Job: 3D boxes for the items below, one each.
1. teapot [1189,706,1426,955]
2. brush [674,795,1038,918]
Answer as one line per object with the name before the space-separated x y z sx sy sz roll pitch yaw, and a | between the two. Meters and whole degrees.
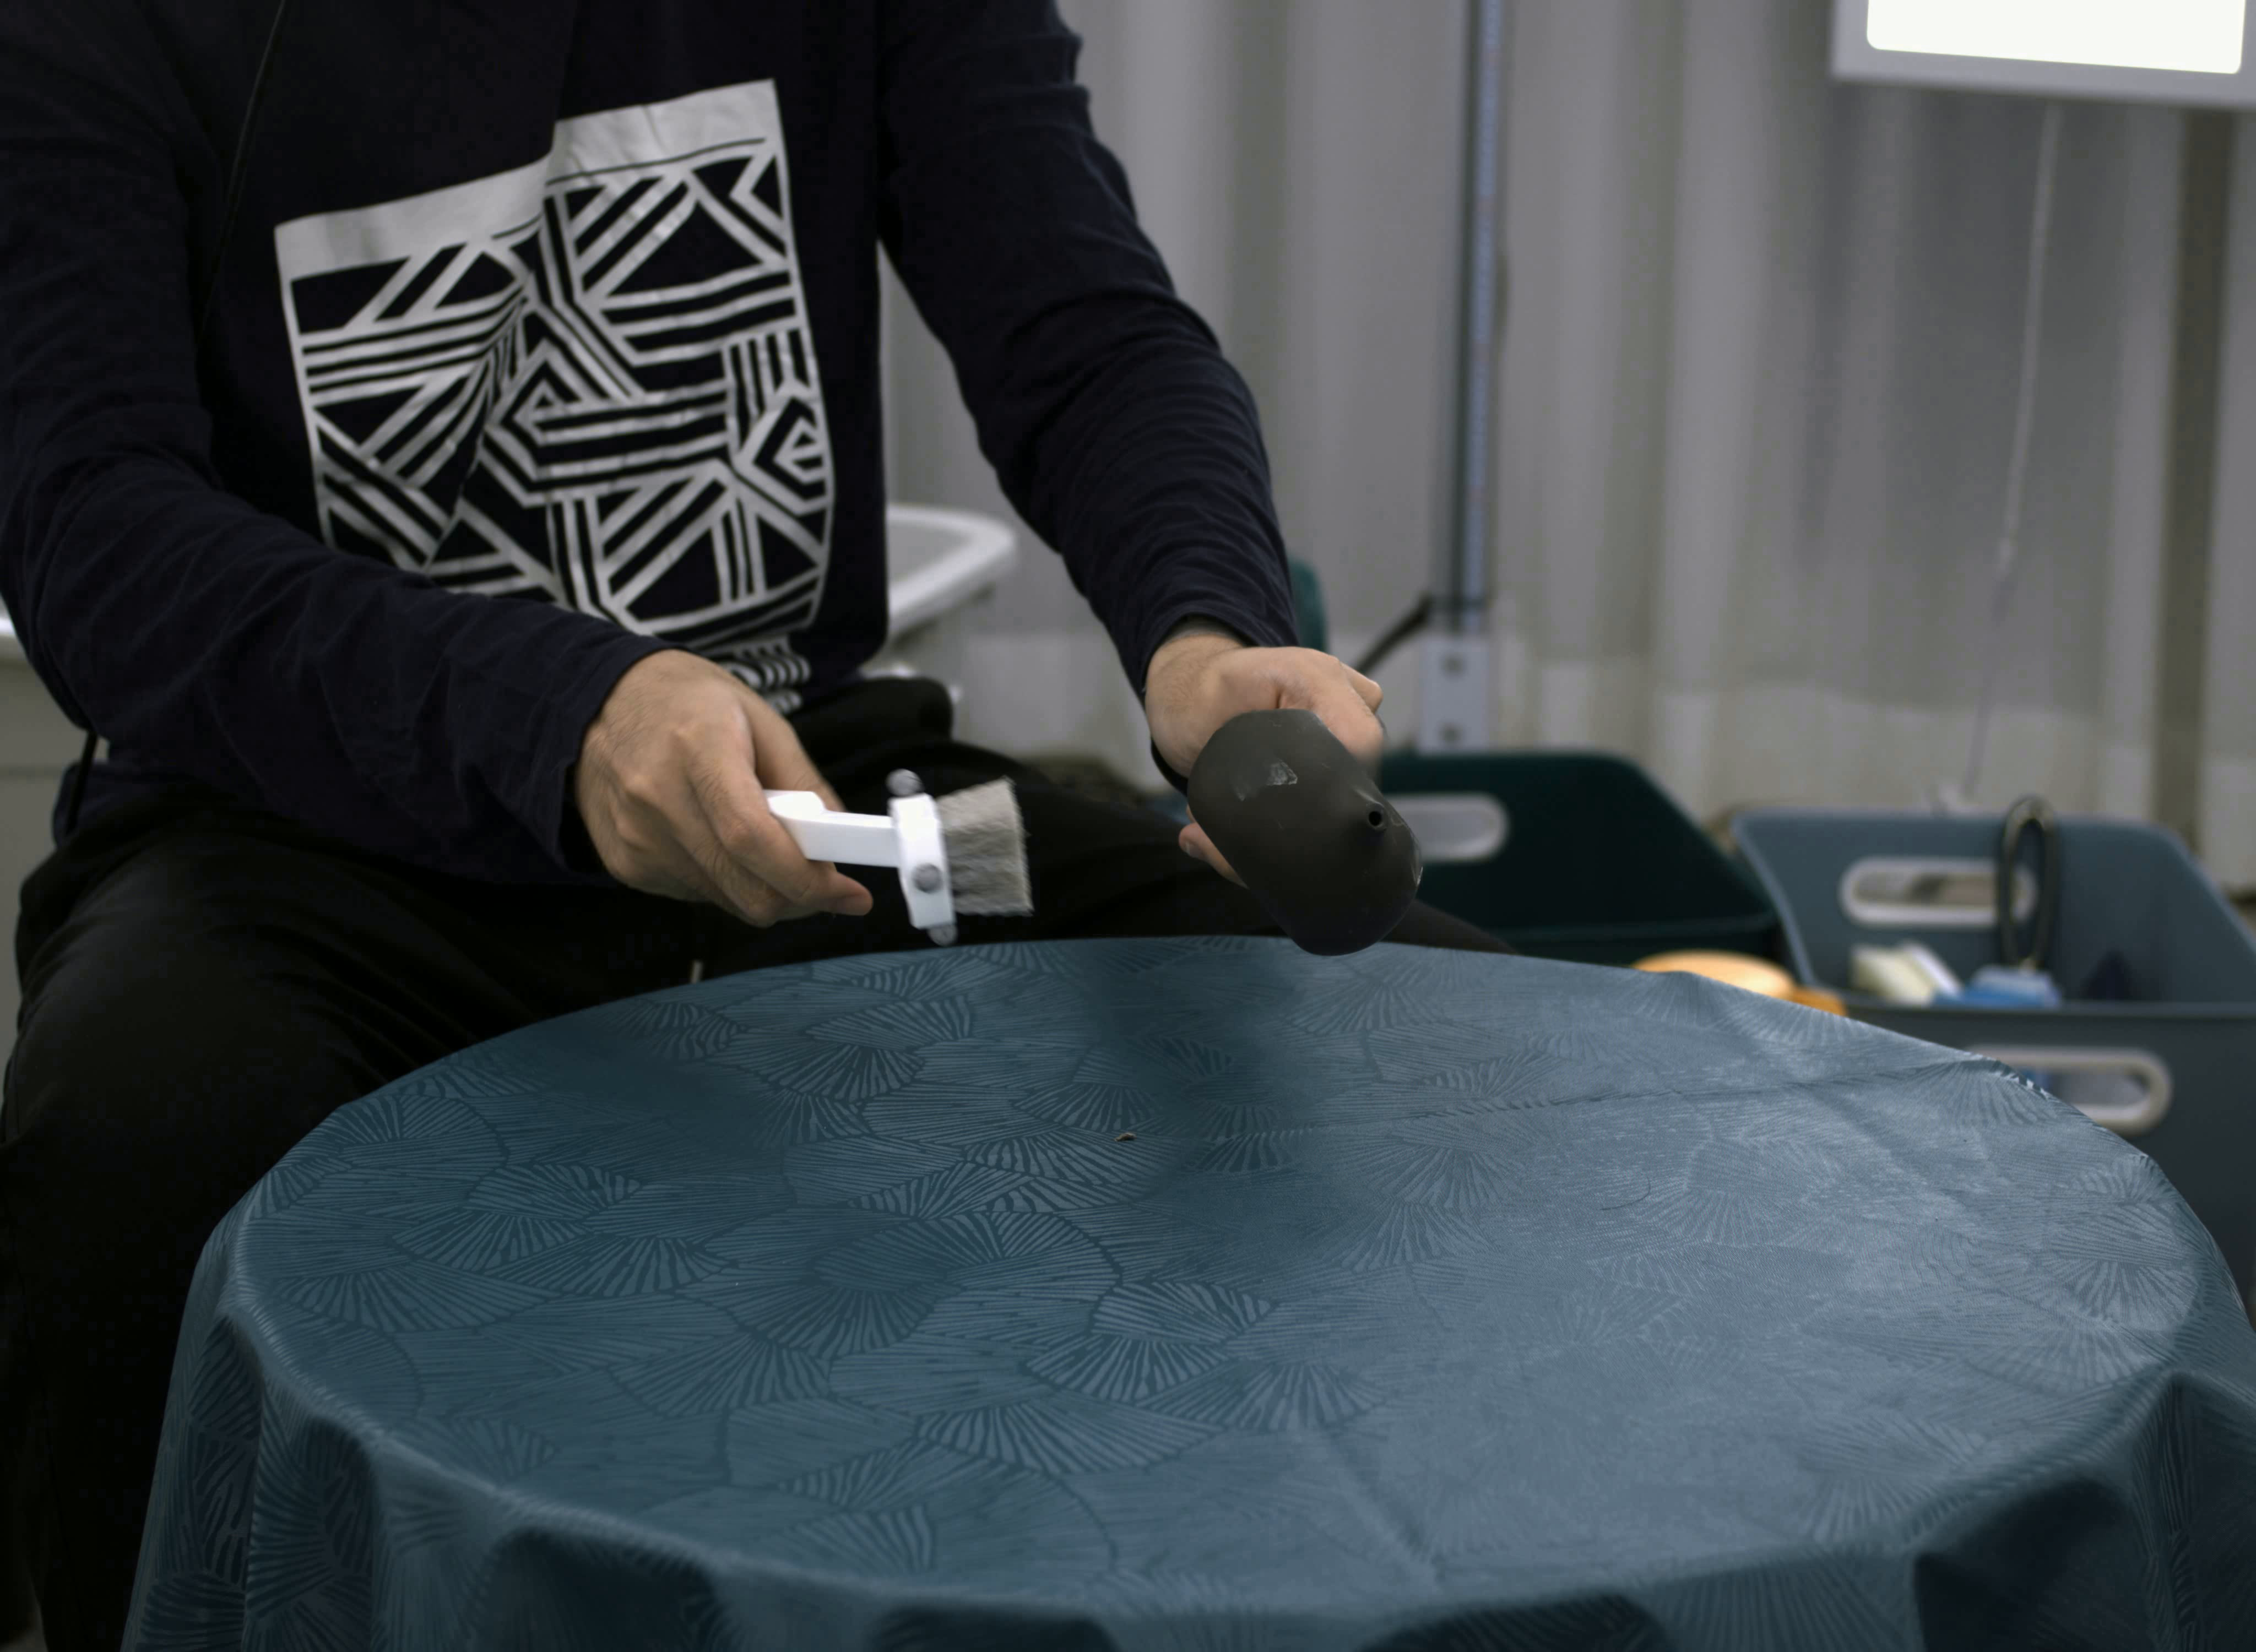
teapot | 0.056 -0.002 1.655 0.053 0.083 0.113 -40 12 3
brush | -0.084 0.007 1.655 0.050 0.034 0.241 -5 3 -24
